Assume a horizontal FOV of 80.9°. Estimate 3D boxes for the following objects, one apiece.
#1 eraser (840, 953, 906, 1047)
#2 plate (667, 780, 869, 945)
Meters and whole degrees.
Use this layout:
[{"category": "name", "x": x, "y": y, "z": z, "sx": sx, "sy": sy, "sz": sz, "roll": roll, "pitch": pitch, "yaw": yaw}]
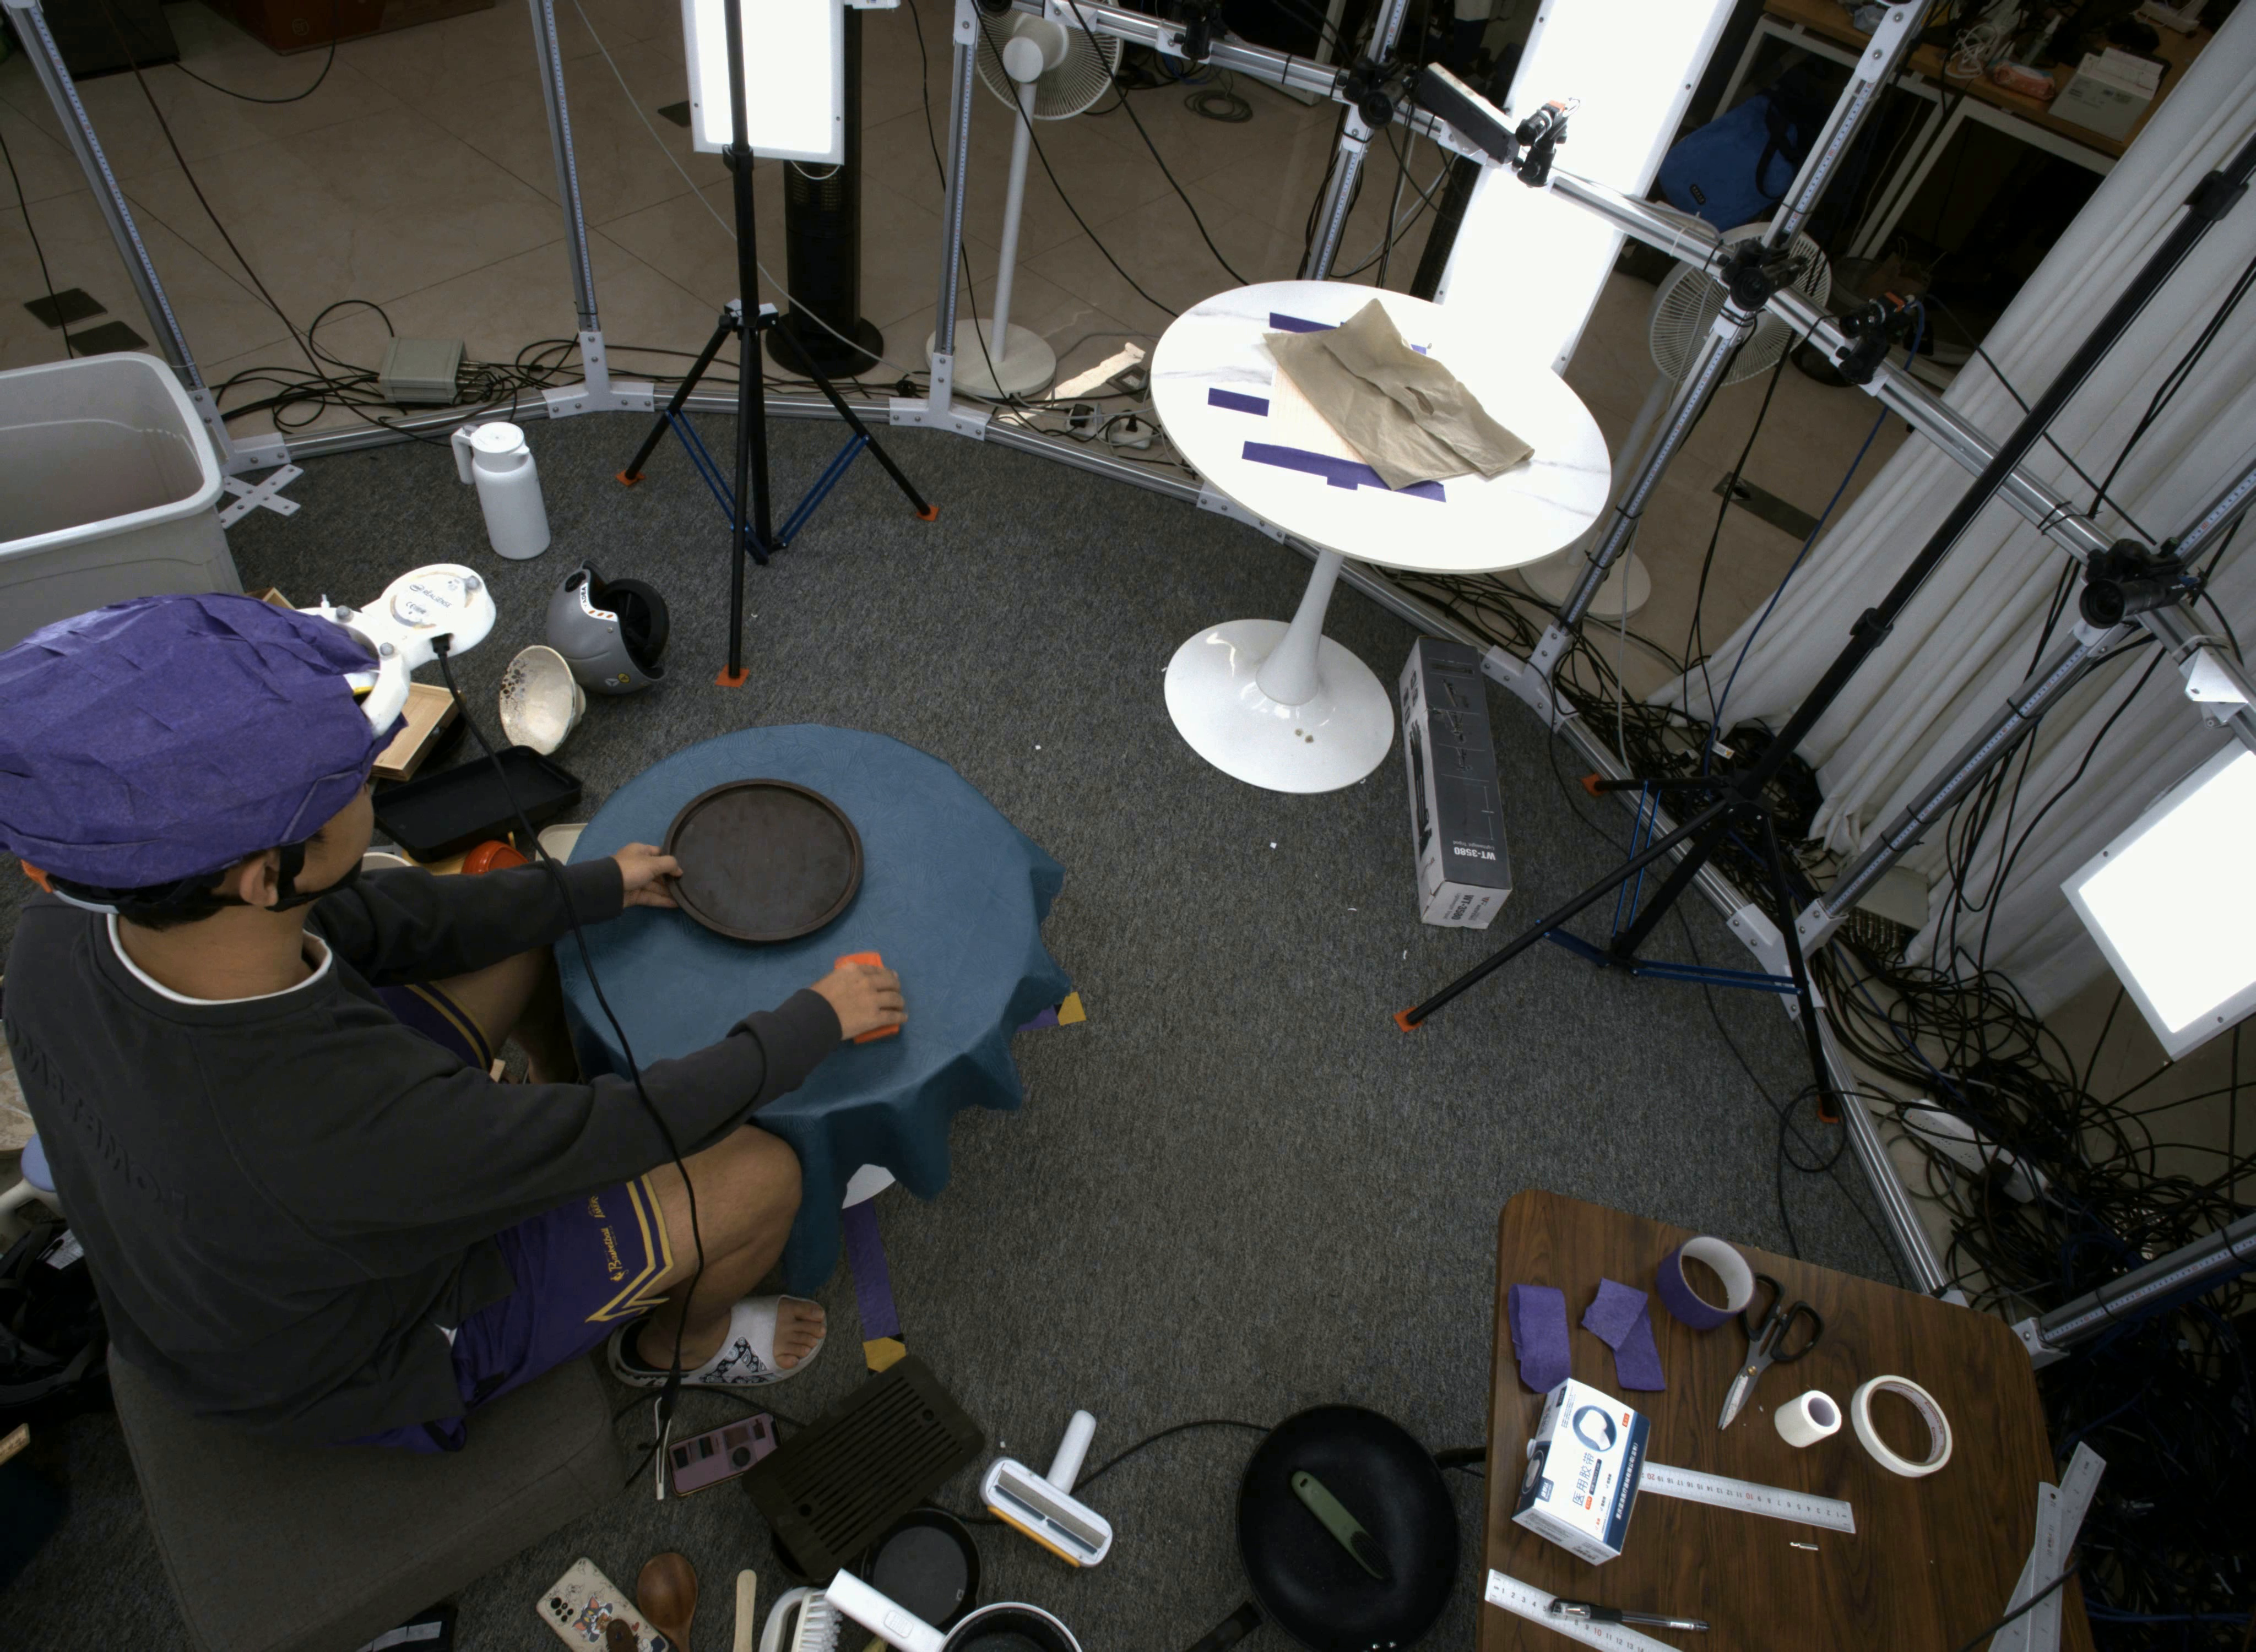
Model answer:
[{"category": "eraser", "x": -0.308, "y": 0.207, "z": 1.566, "sx": 0.059, "sy": 0.023, "sz": 0.106, "roll": -13, "pitch": 65, "yaw": -19}, {"category": "plate", "x": -0.460, "y": 0.044, "z": 1.662, "sx": 0.256, "sy": 0.029, "sz": 0.250, "roll": 11, "pitch": 53, "yaw": -14}]
